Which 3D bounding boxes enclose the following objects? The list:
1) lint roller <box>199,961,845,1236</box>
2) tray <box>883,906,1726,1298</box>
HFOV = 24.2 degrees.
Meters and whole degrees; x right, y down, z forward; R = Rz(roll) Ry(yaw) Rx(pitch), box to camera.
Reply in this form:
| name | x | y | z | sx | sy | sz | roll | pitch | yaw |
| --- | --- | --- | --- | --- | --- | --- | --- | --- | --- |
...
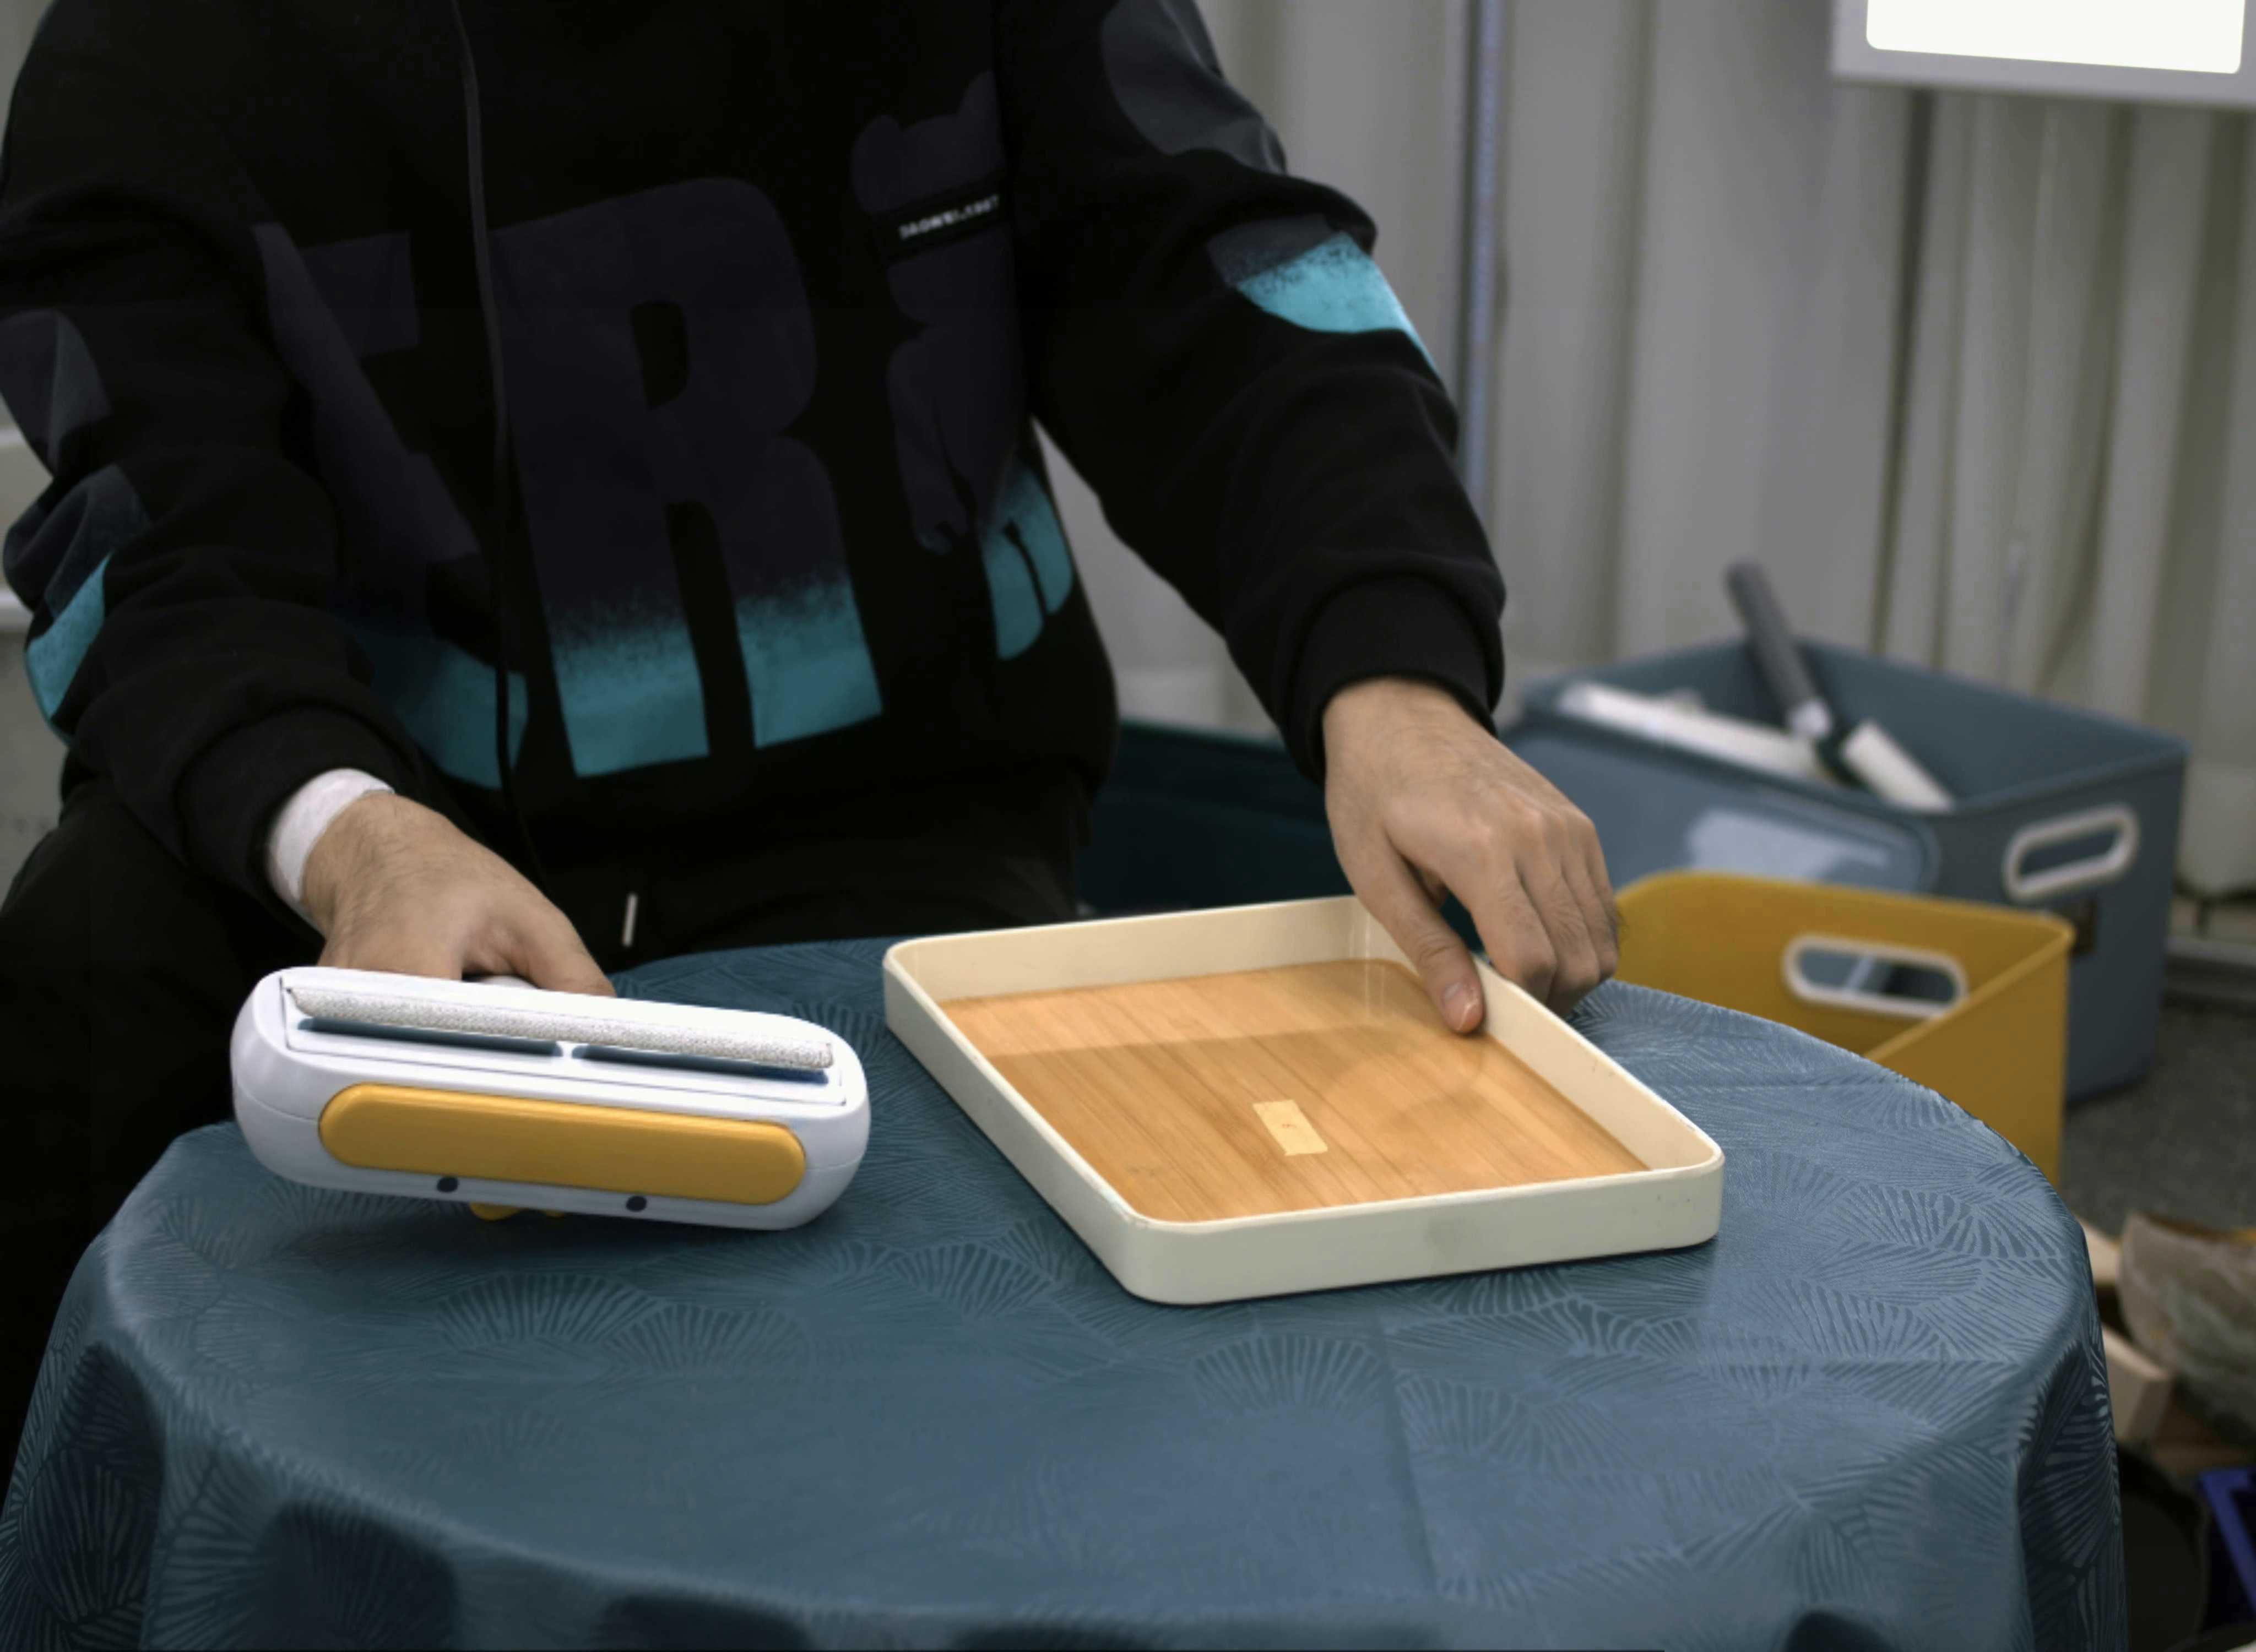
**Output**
| name | x | y | z | sx | sy | sz | roll | pitch | yaw |
| --- | --- | --- | --- | --- | --- | --- | --- | --- | --- |
| lint roller | -0.190 | 0.068 | 1.626 | 0.193 | 0.075 | 0.190 | 4 | 19 | -12 |
| tray | 0.048 | 0.083 | 1.675 | 0.192 | 0.027 | 0.297 | -4 | 16 | -18 |
